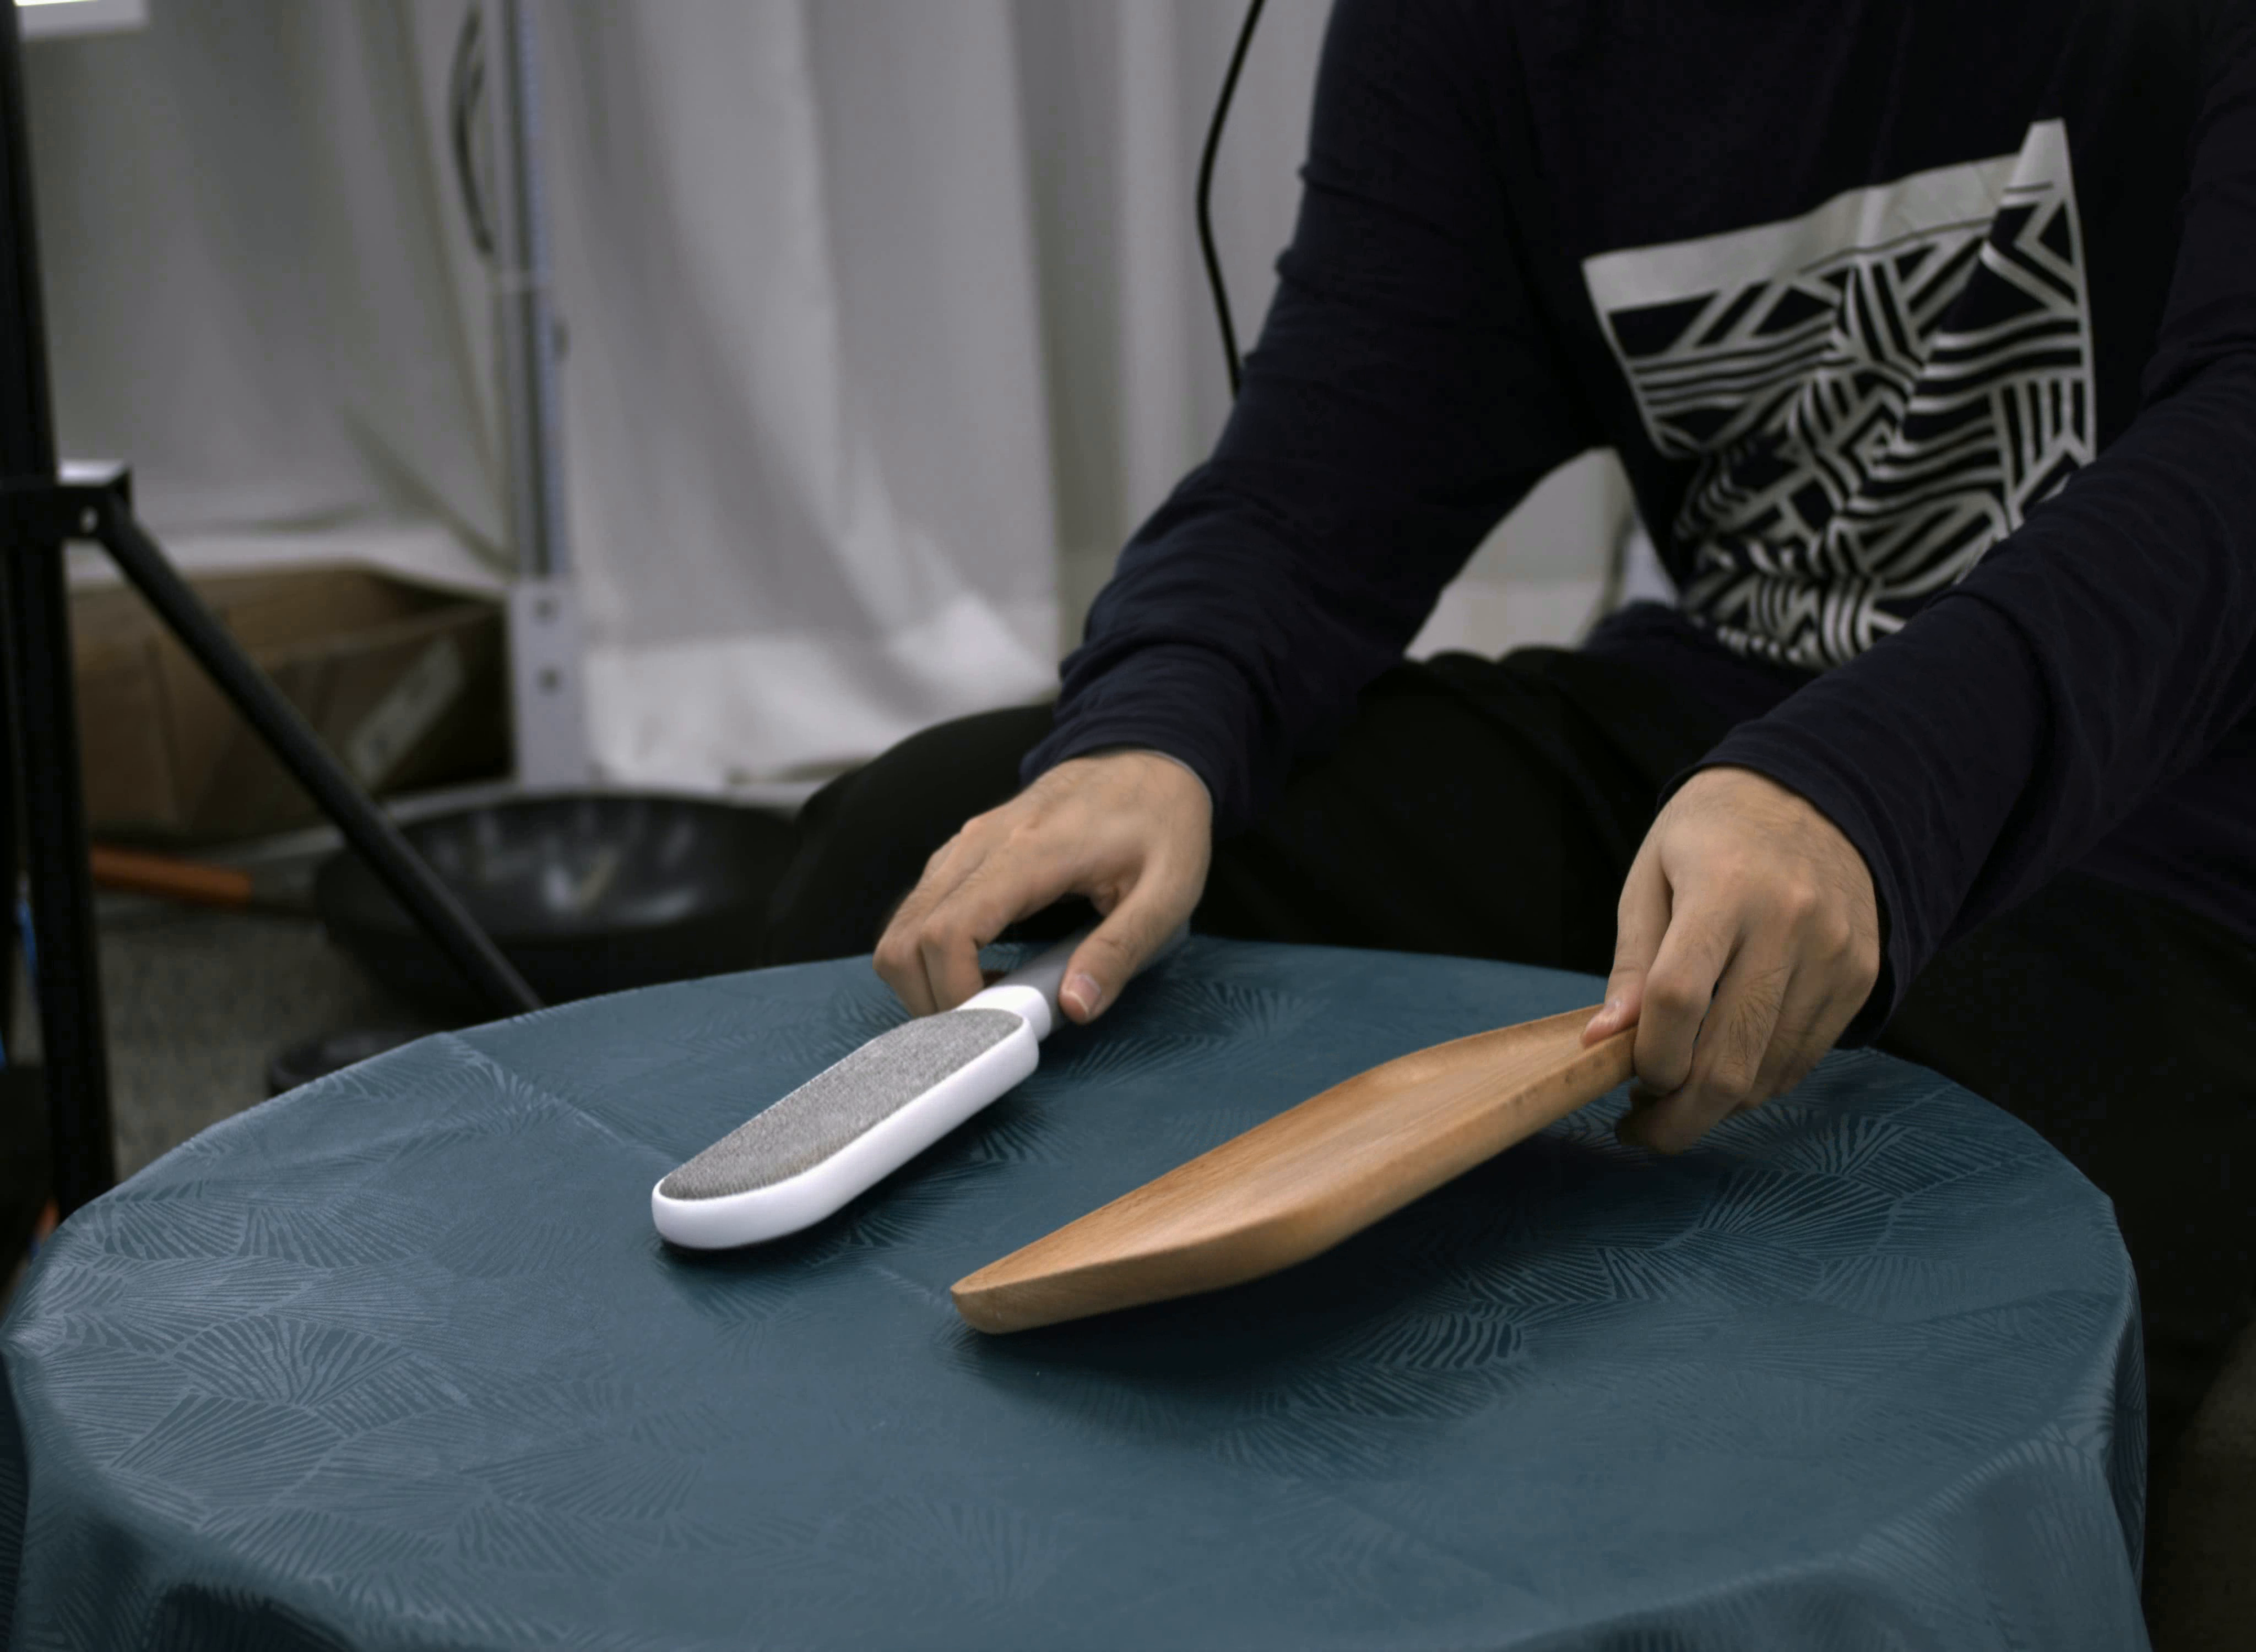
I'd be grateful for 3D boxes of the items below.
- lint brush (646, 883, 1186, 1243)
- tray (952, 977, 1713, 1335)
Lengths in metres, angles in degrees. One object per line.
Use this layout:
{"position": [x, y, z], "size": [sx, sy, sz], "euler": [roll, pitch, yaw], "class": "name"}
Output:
{"position": [-0.055, 0.069, 1.637], "size": [0.061, 0.021, 0.304], "euler": [-9, 12, 30], "class": "lint brush"}
{"position": [0.063, 0.093, 1.503], "size": [0.133, 0.023, 0.245], "euler": [-12, 7, 40], "class": "tray"}
